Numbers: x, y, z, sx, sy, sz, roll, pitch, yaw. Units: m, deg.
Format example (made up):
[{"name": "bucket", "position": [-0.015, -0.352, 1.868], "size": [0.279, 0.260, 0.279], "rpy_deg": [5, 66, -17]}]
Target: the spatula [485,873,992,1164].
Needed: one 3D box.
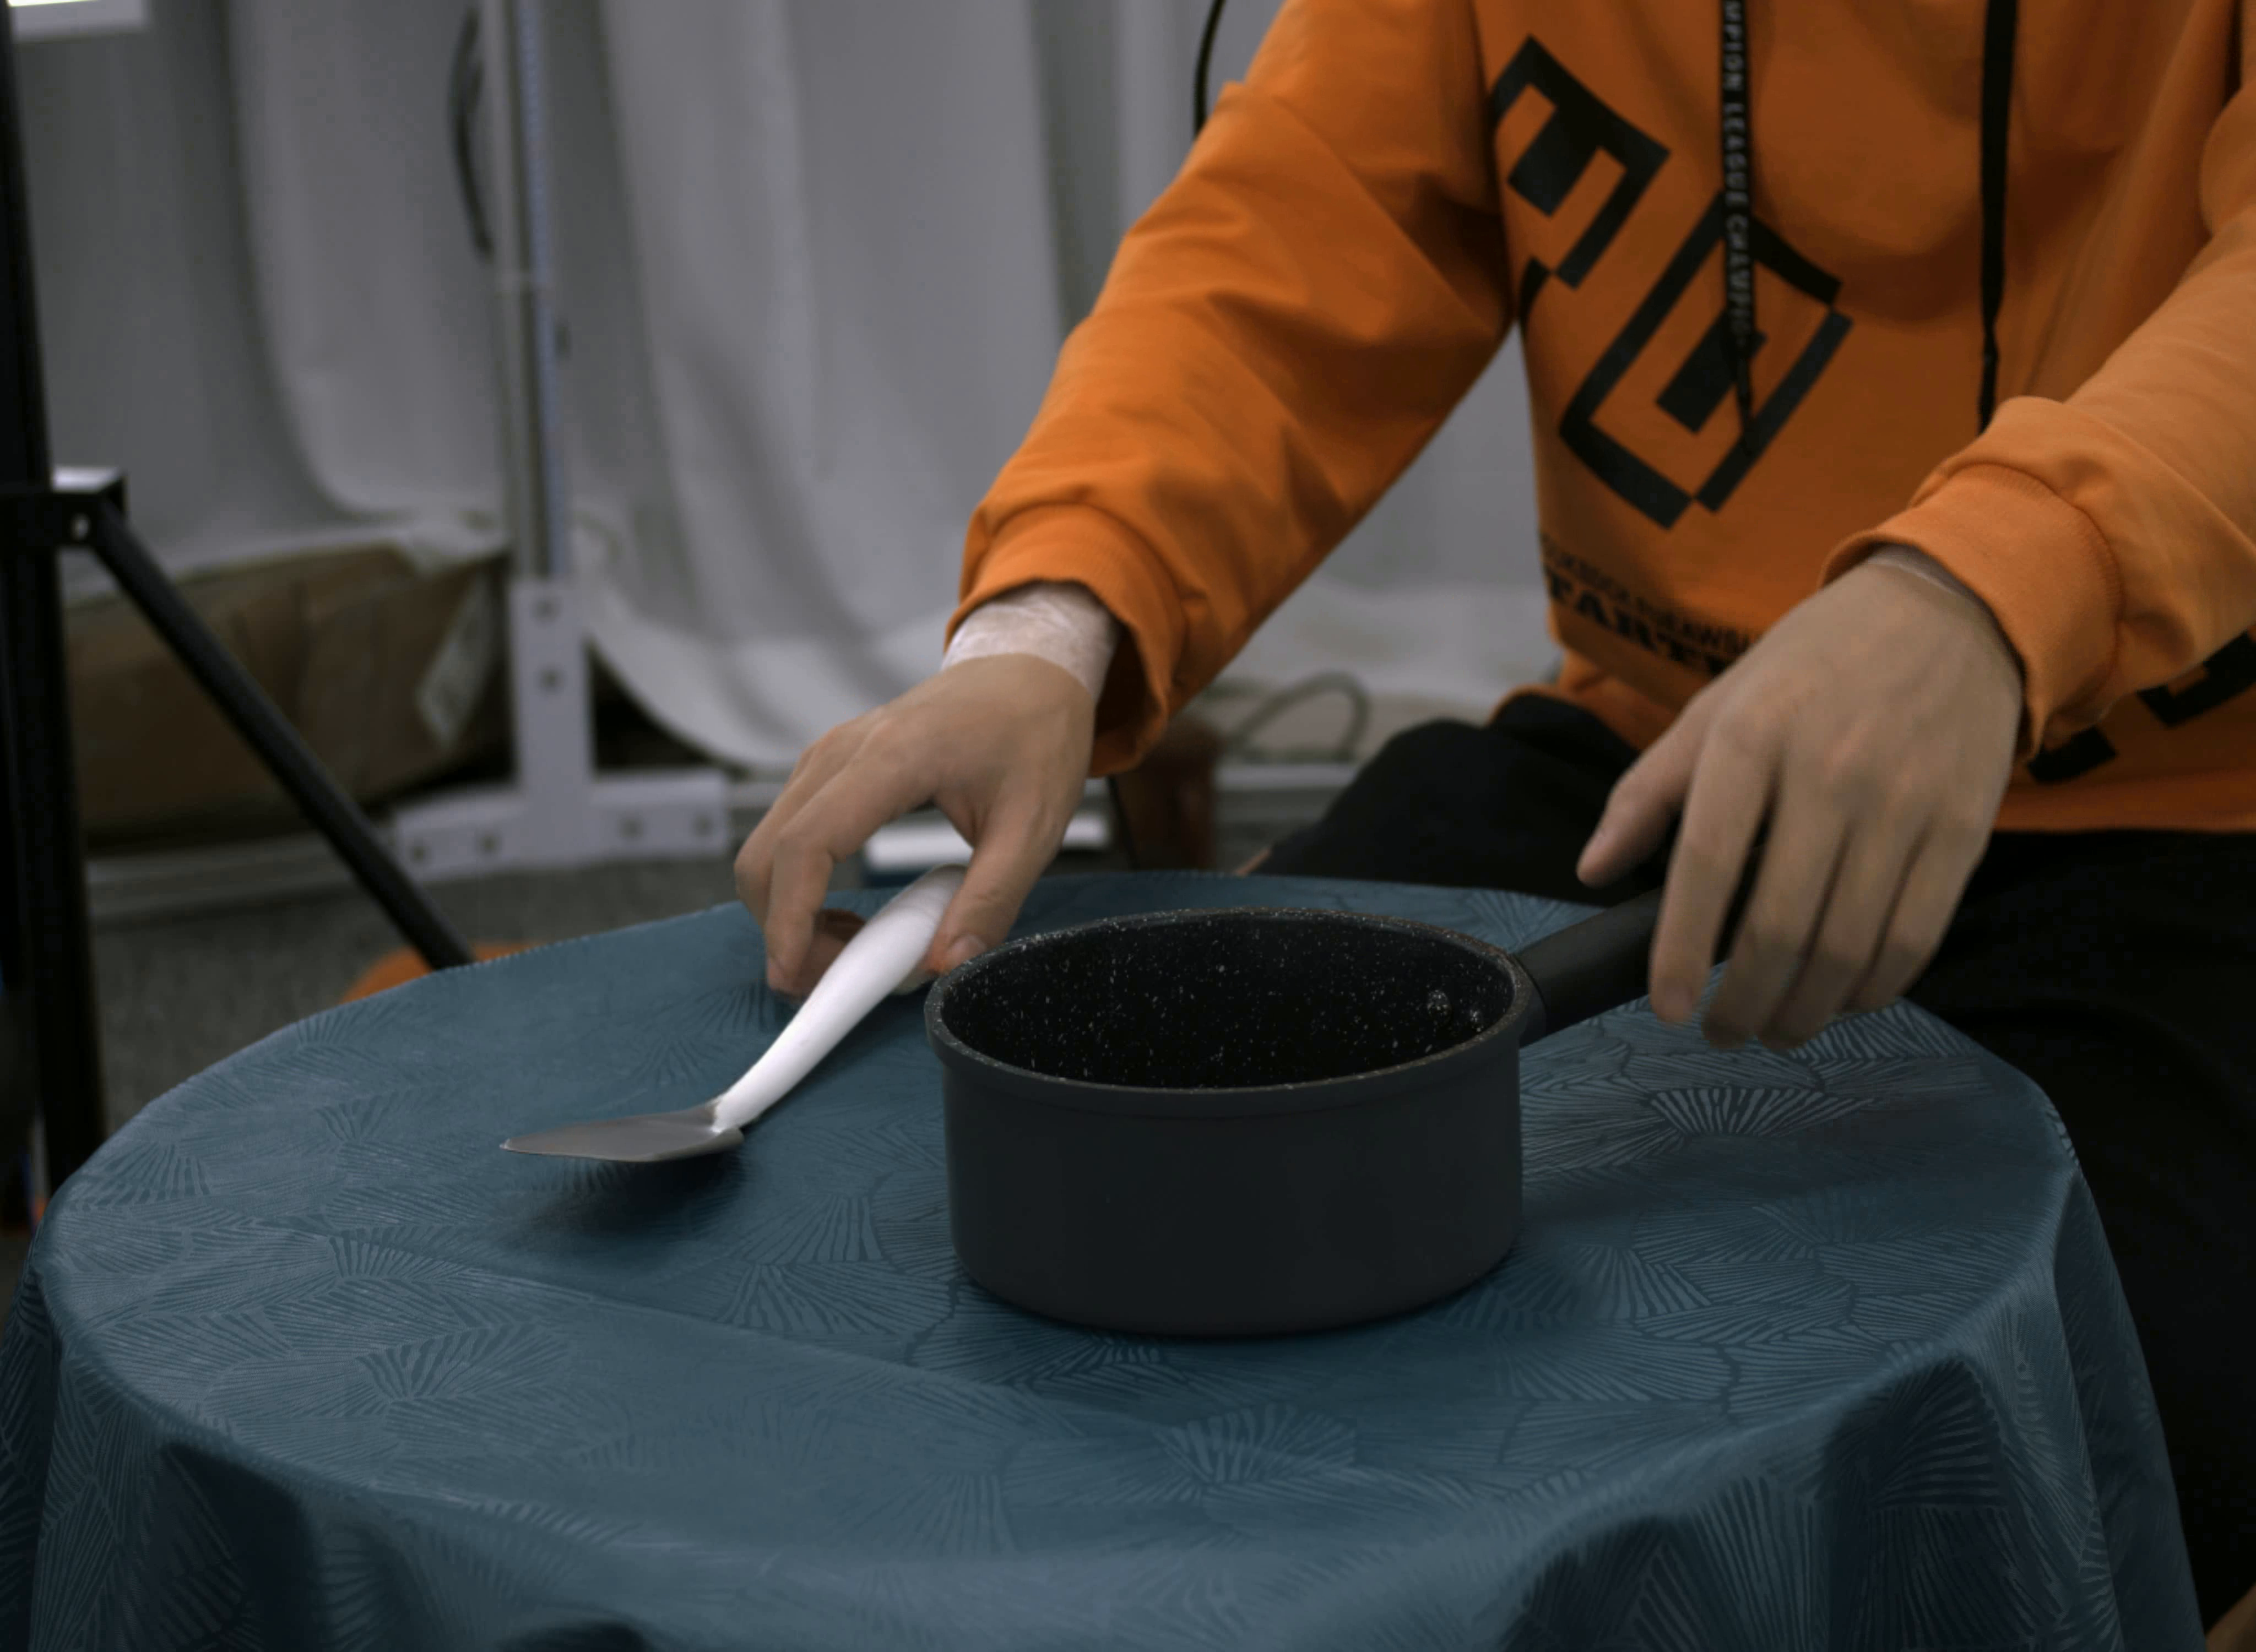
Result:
[{"name": "spatula", "position": [-0.111, 0.067, 1.662], "size": [0.059, 0.032, 0.284], "rpy_deg": [6, 17, 21]}]

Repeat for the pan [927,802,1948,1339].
[{"name": "pan", "position": [0.098, 0.066, 1.533], "size": [0.322, 0.086, 0.175], "rpy_deg": [-13, 19, -25]}]
